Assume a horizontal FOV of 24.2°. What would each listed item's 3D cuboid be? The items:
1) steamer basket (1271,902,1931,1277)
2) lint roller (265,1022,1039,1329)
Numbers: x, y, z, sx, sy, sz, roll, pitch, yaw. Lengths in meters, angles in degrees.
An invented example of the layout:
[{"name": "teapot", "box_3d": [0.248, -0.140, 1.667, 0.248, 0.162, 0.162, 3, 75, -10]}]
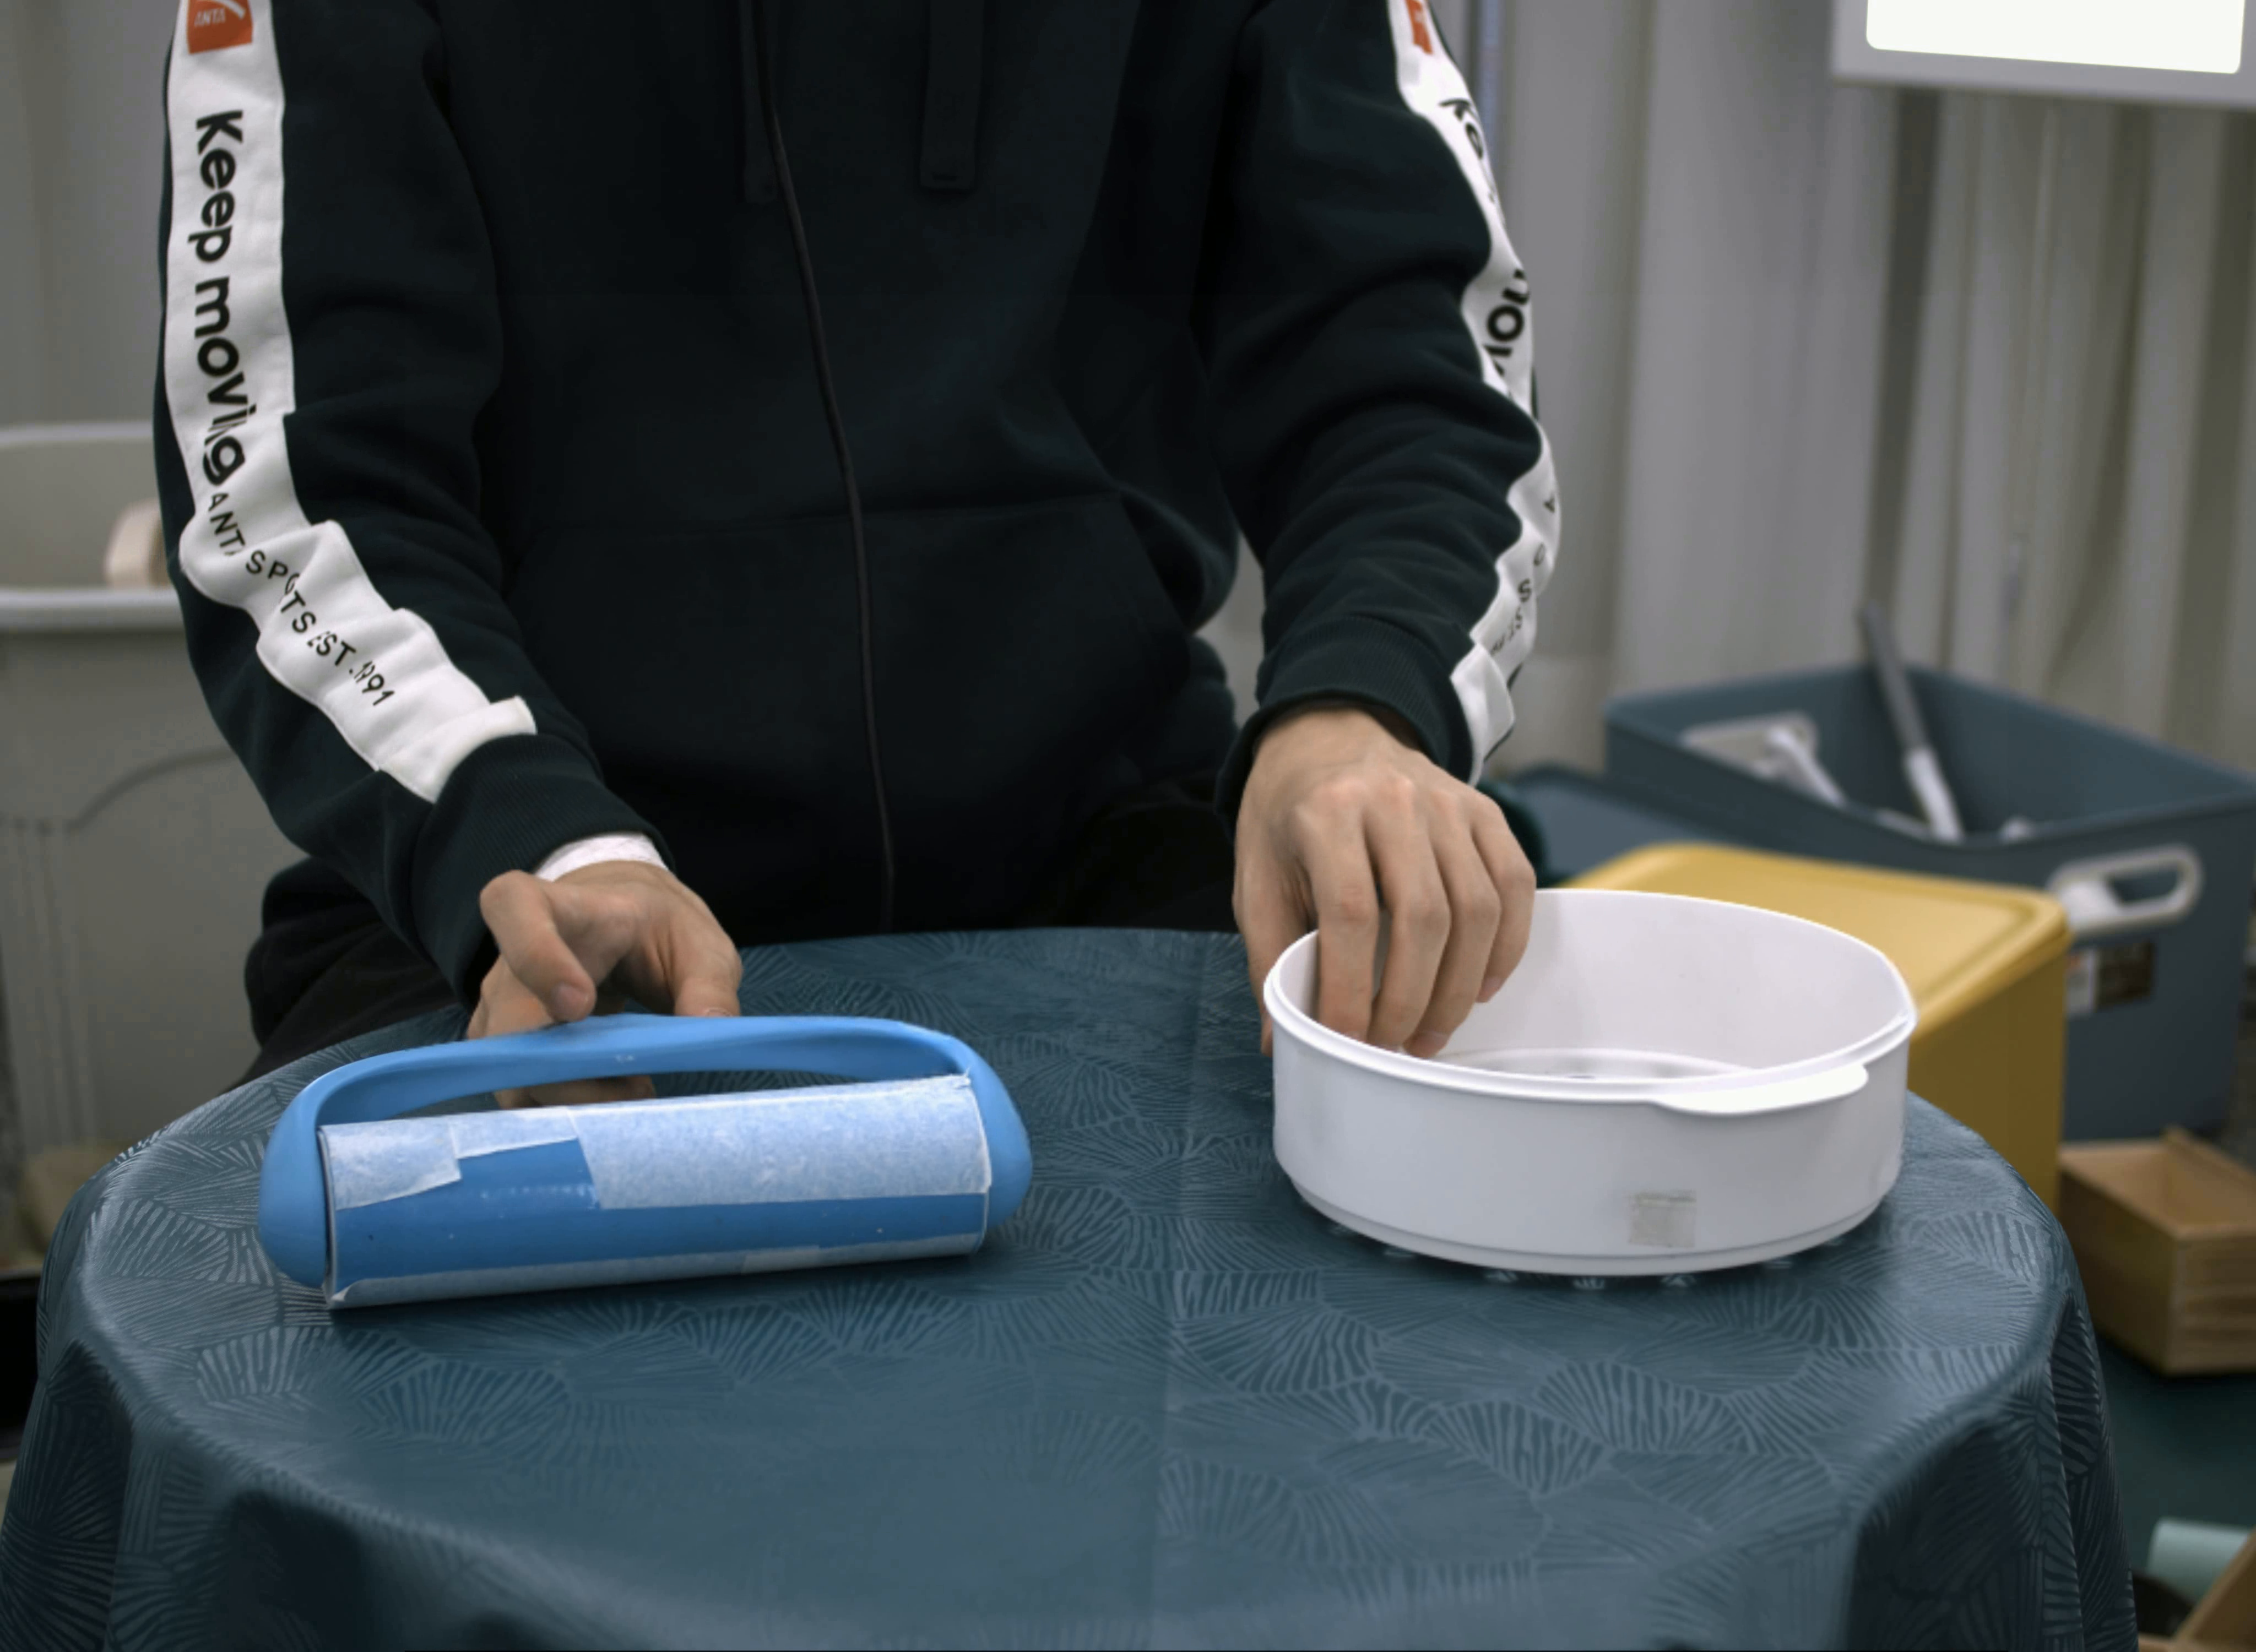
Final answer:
[{"name": "steamer basket", "box_3d": [0.144, 0.080, 1.613, 0.203, 0.070, 0.228, -7, 16, -26]}, {"name": "lint roller", "box_3d": [-0.156, 0.092, 1.586, 0.229, 0.068, 0.178, -7, 18, -19]}]
